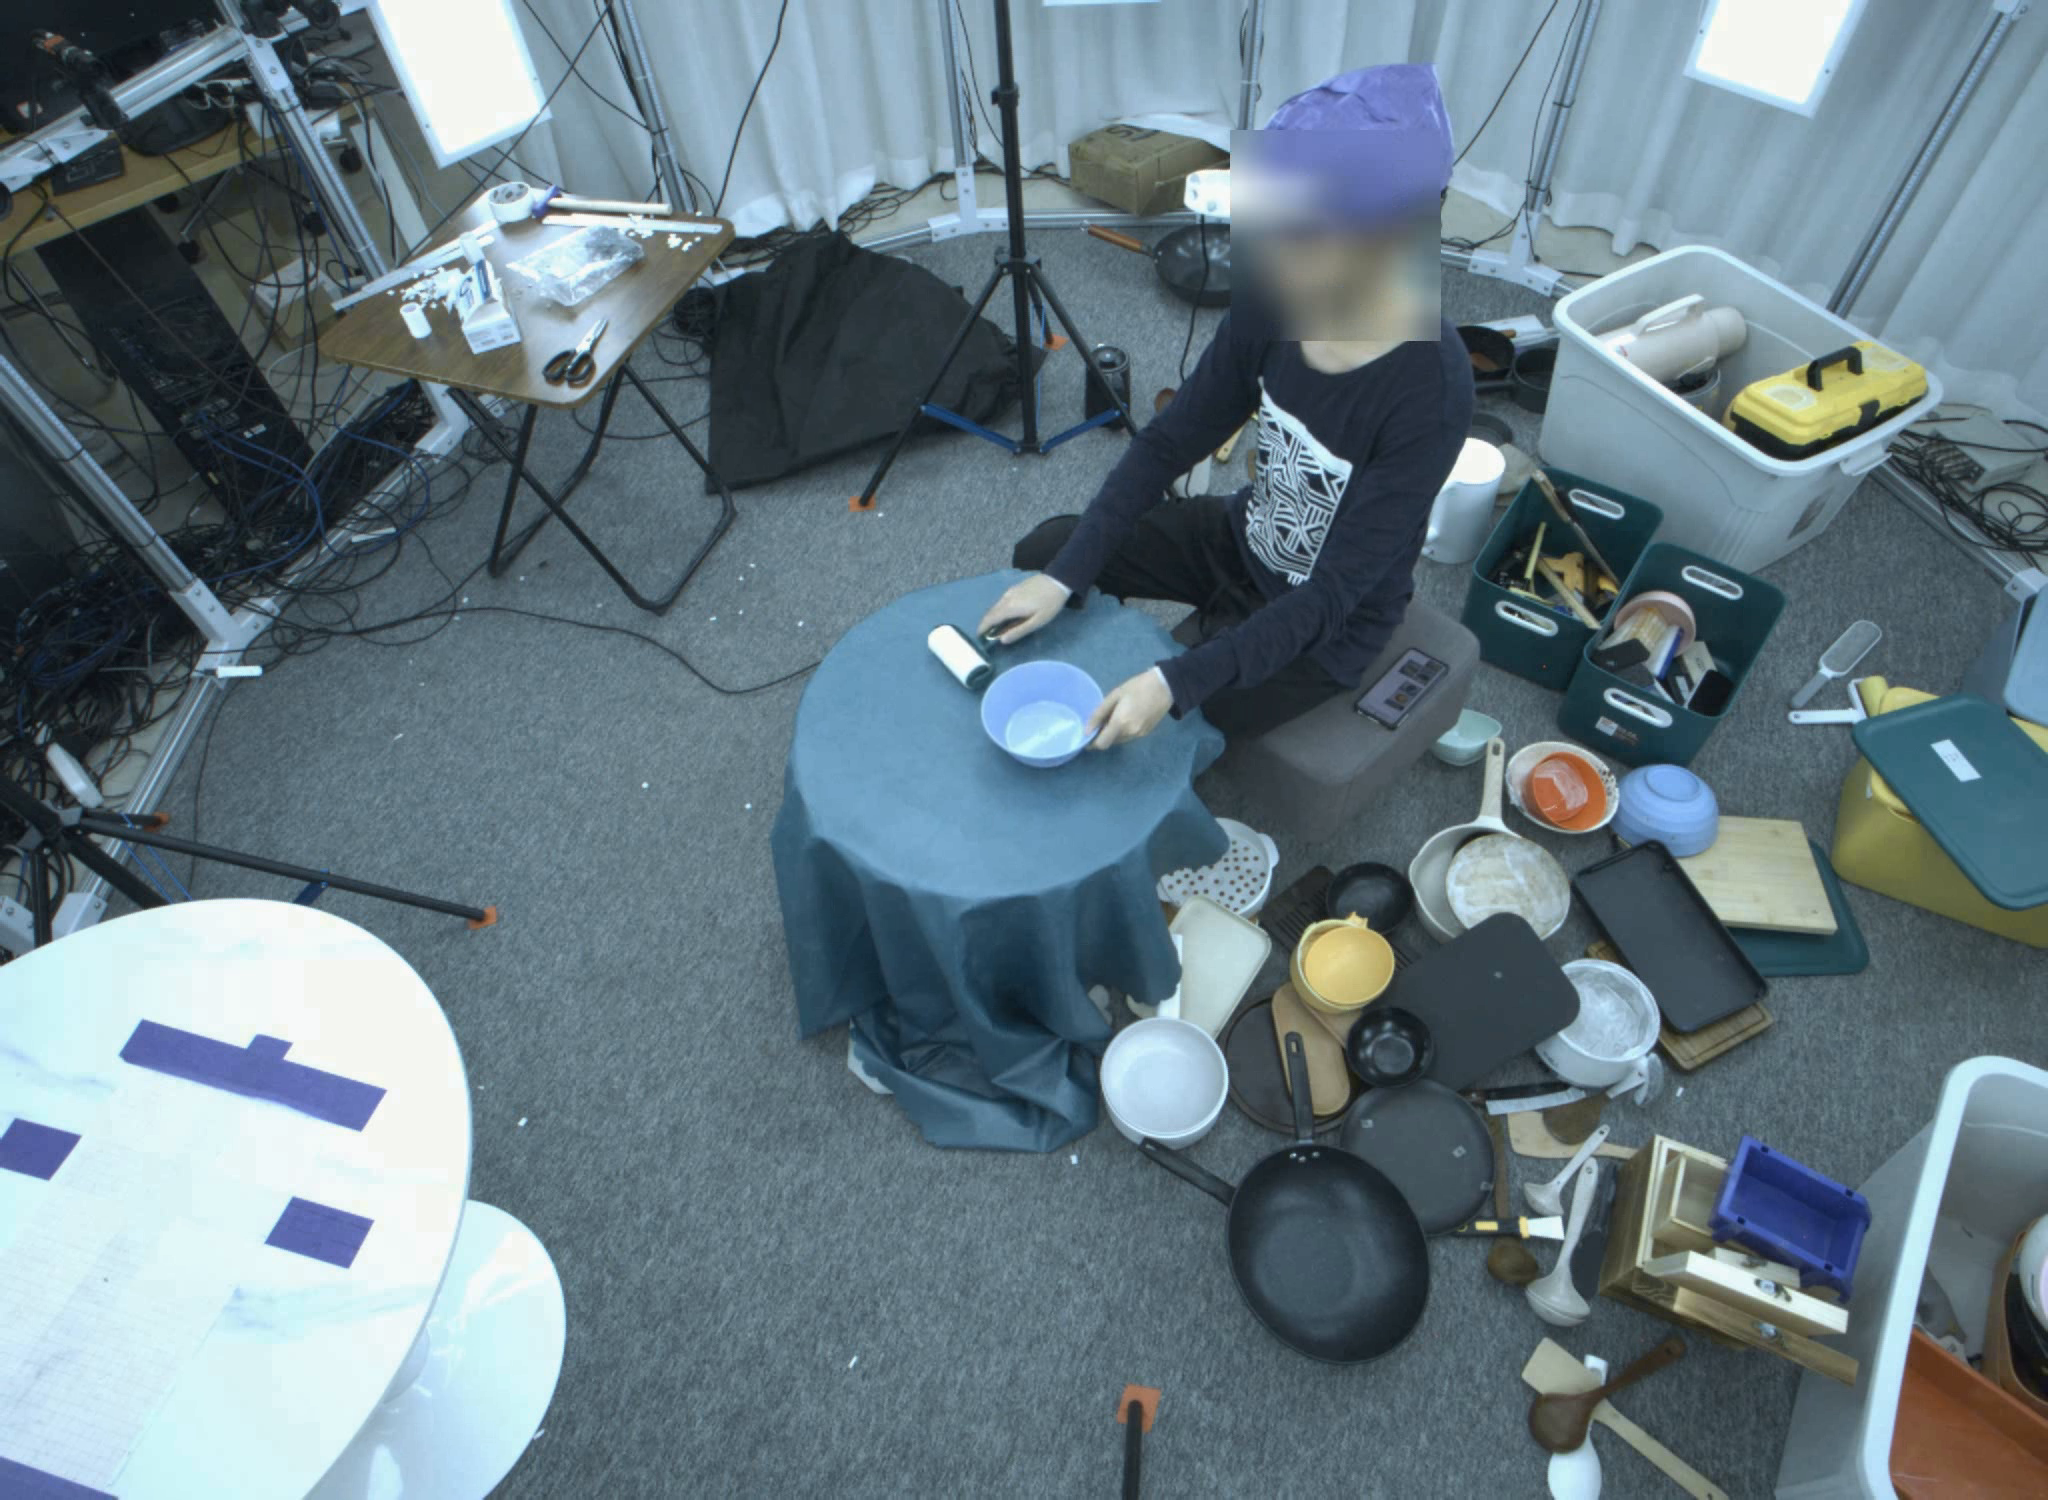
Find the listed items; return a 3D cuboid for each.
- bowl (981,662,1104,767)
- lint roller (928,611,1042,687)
[{"bbox_3d":[0.028,-0.041,1.779,0.176,0.071,0.174,0,54,2],"label":"bowl"},{"bbox_3d":[-0.047,-0.179,1.890,0.181,0.049,0.132,-34,60,-18],"label":"lint roller"}]
